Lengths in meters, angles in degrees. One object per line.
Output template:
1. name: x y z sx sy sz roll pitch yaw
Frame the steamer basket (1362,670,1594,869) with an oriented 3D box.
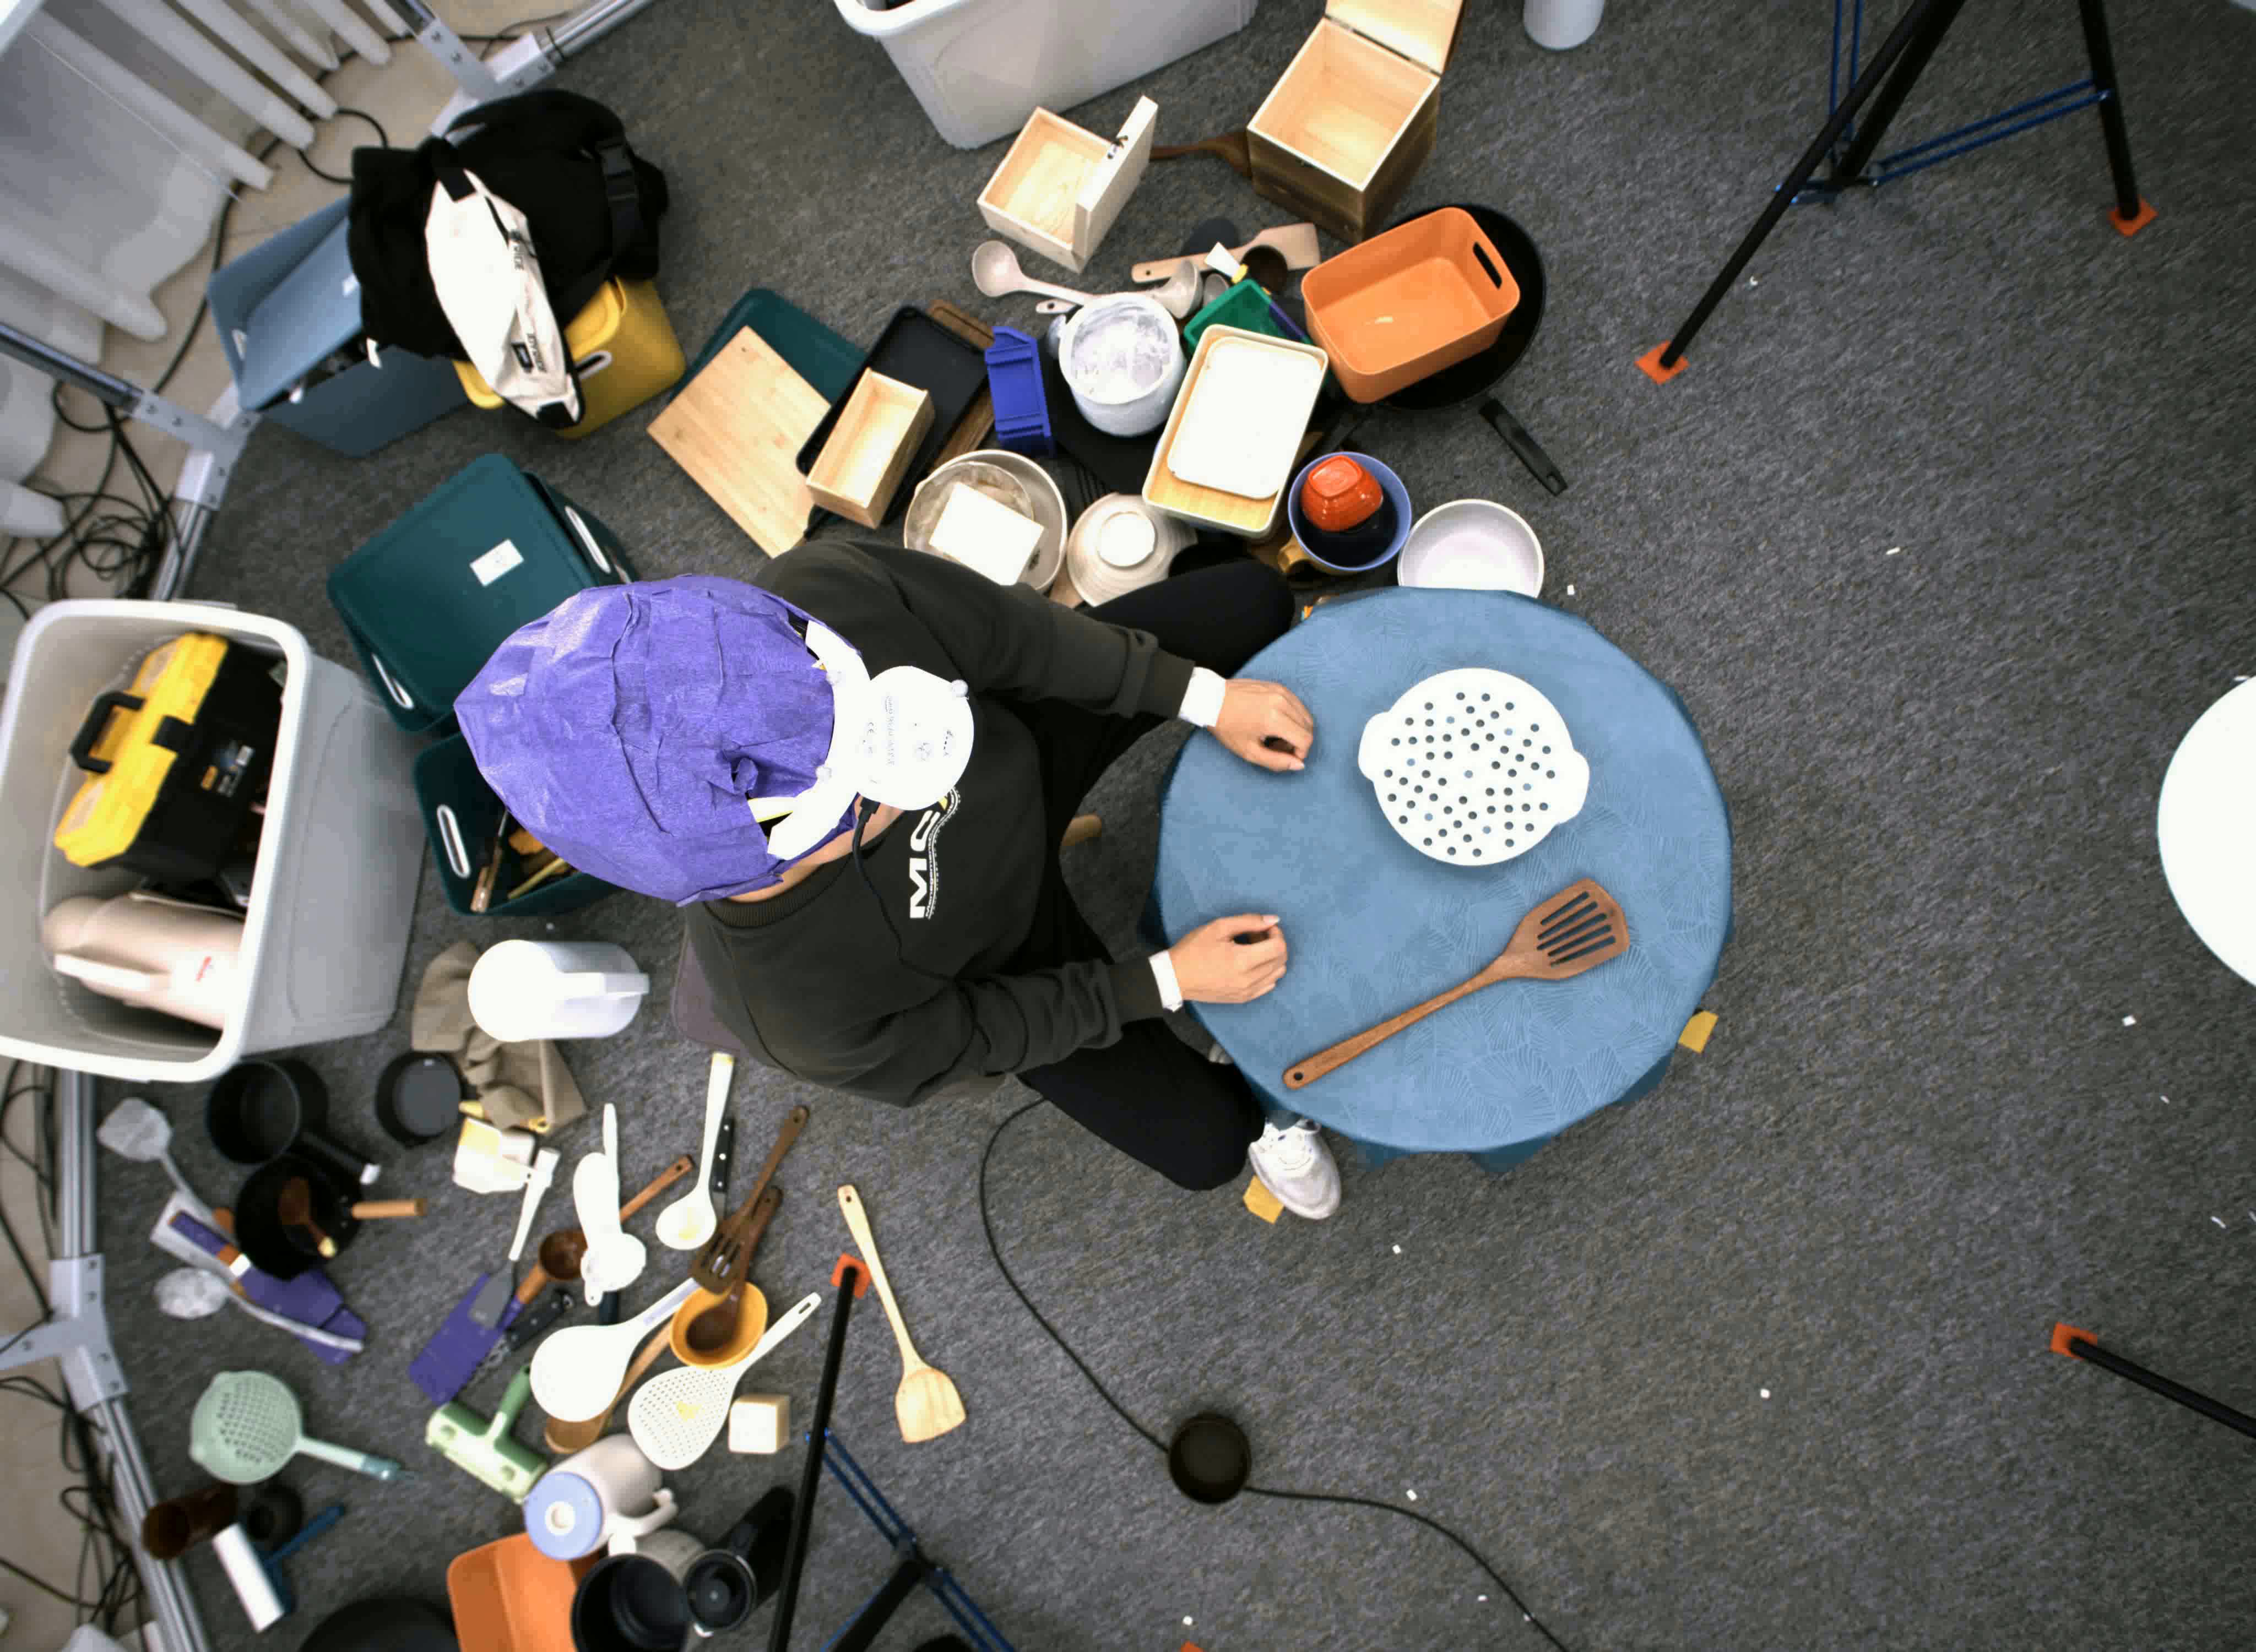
1. steamer basket: 0.359 -0.058 1.419 0.231 0.069 0.201 13 87 15

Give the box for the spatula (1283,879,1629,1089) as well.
1. spatula: 0.332 0.177 1.432 0.388 0.024 0.085 -30 79 9
